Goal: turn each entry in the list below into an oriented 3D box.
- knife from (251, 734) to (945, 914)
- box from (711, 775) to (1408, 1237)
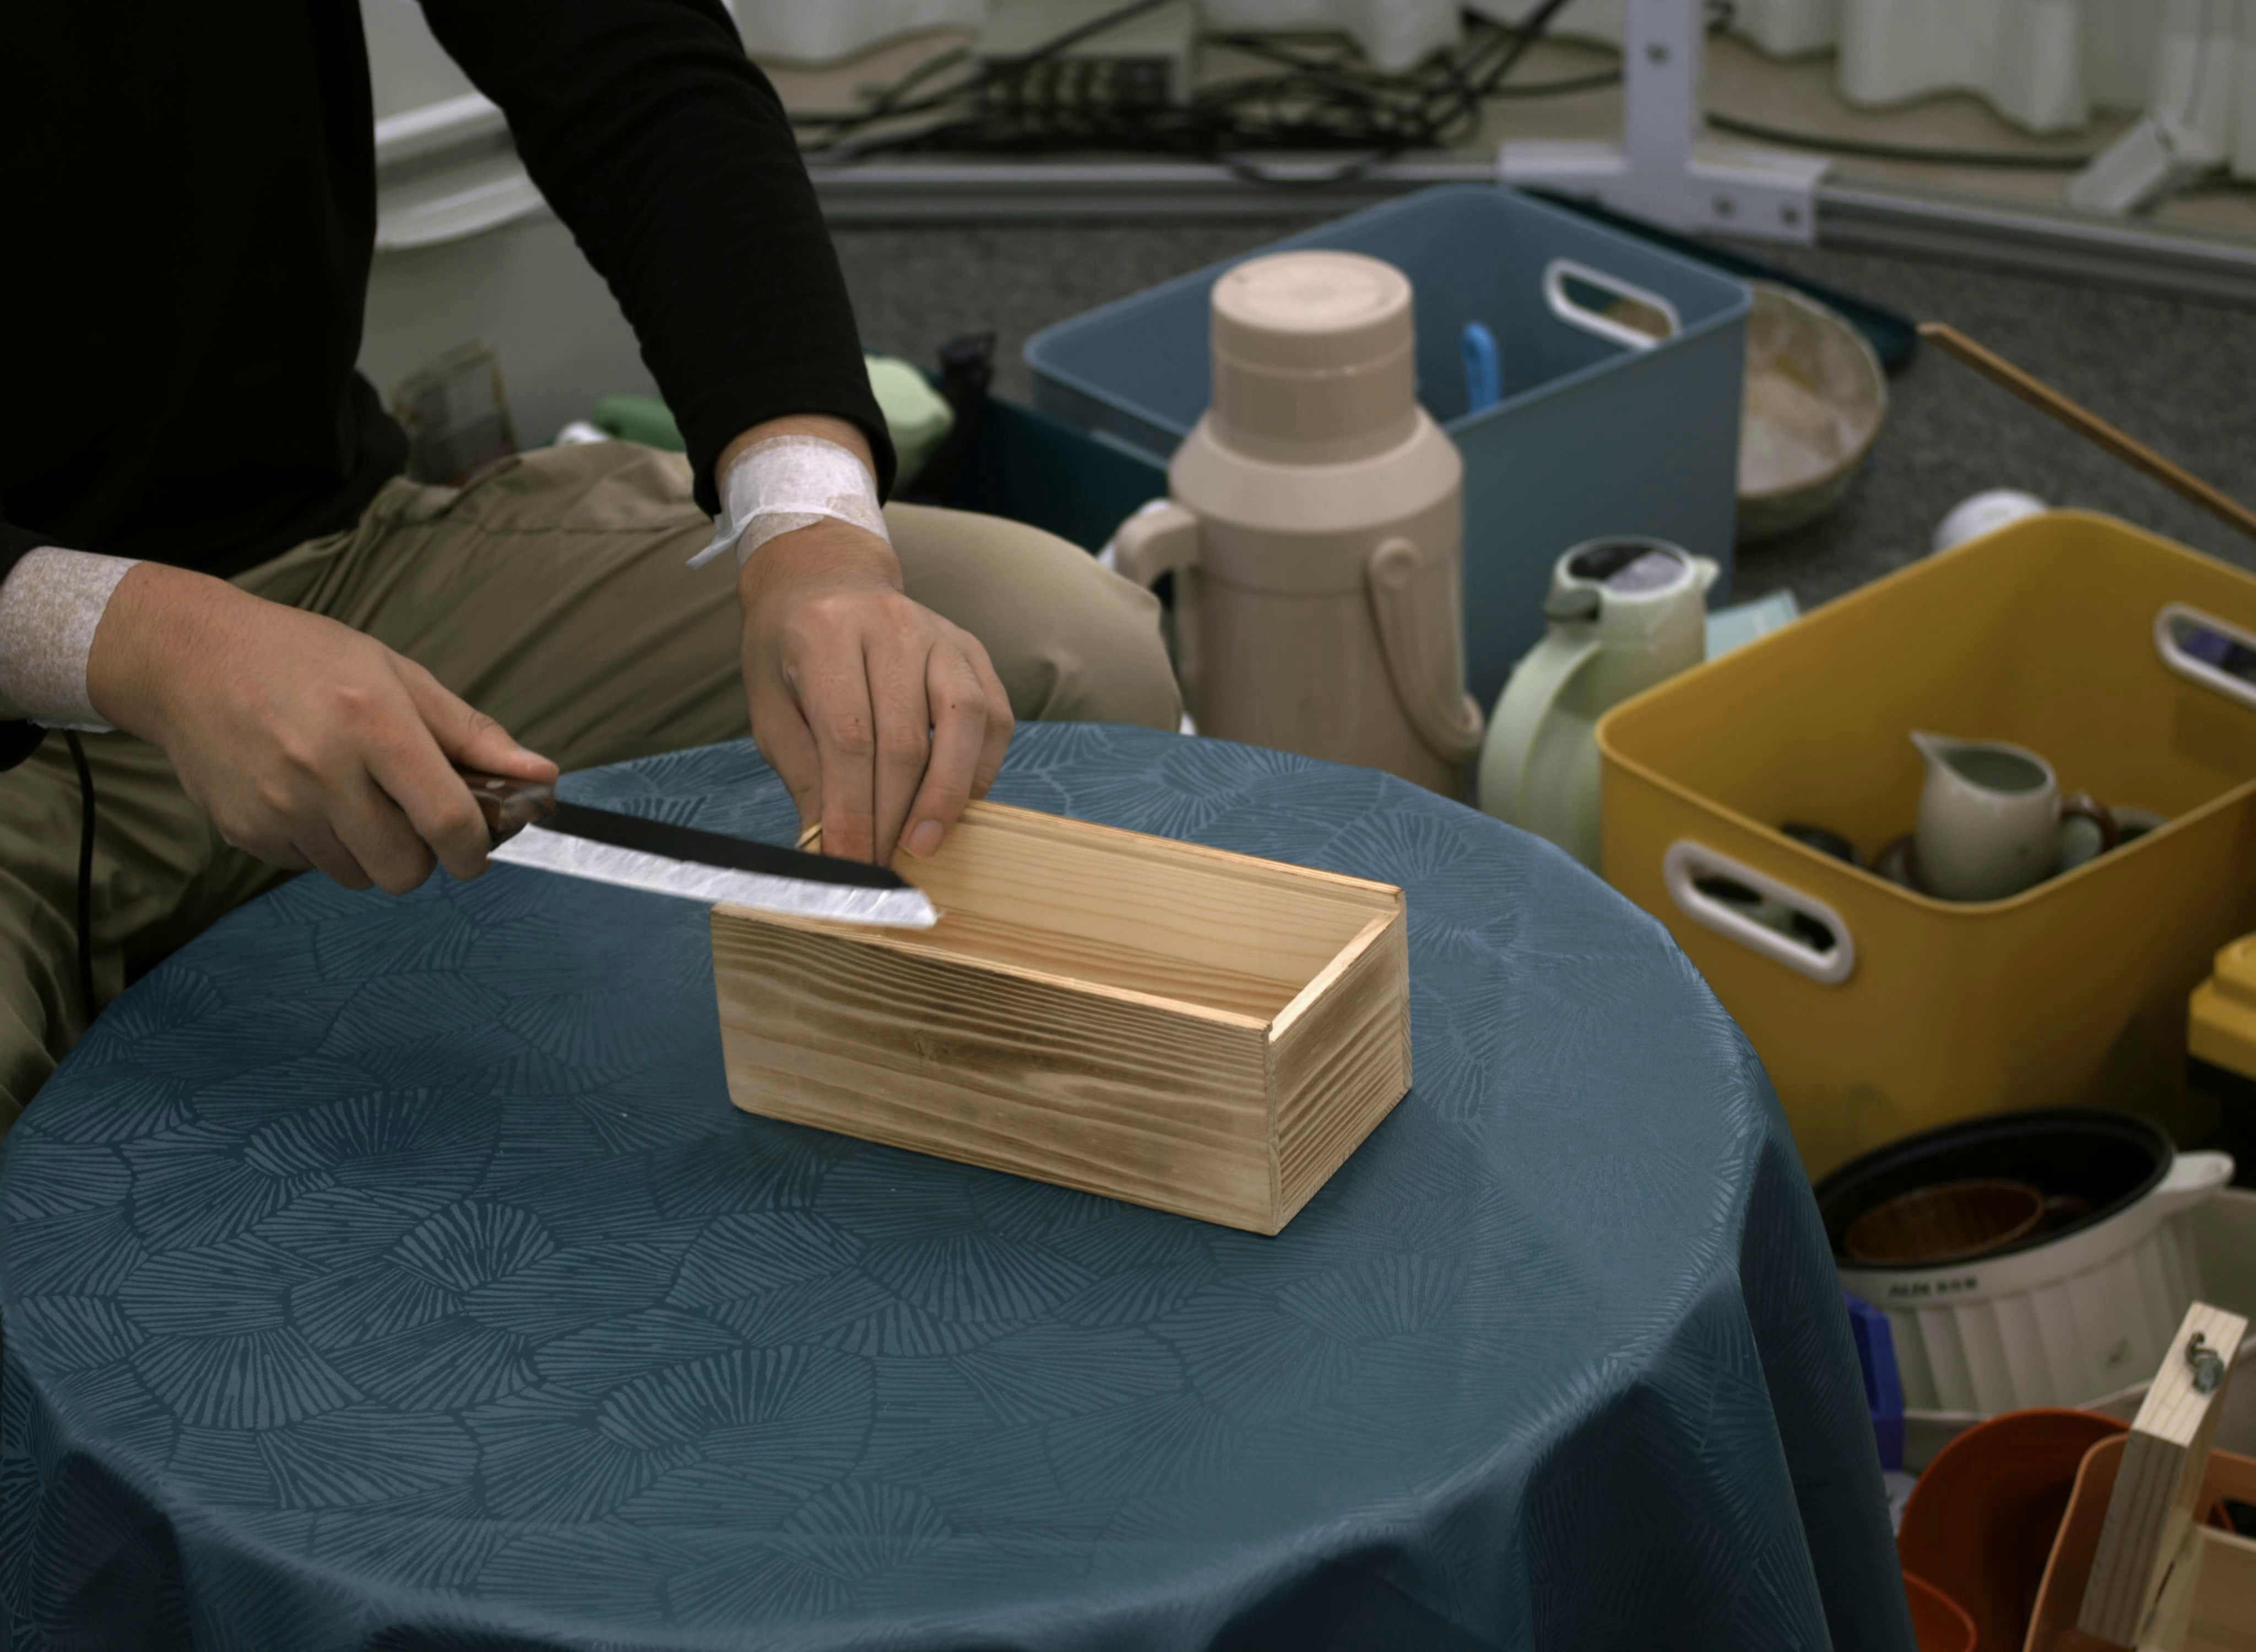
[{"bbox_3d":[-0.180,0.002,1.872,0.287,0.020,0.051,11,30,30],"label":"knife"},{"bbox_3d":[-0.023,0.058,1.900,0.210,0.079,0.109,12,30,25],"label":"box"}]
